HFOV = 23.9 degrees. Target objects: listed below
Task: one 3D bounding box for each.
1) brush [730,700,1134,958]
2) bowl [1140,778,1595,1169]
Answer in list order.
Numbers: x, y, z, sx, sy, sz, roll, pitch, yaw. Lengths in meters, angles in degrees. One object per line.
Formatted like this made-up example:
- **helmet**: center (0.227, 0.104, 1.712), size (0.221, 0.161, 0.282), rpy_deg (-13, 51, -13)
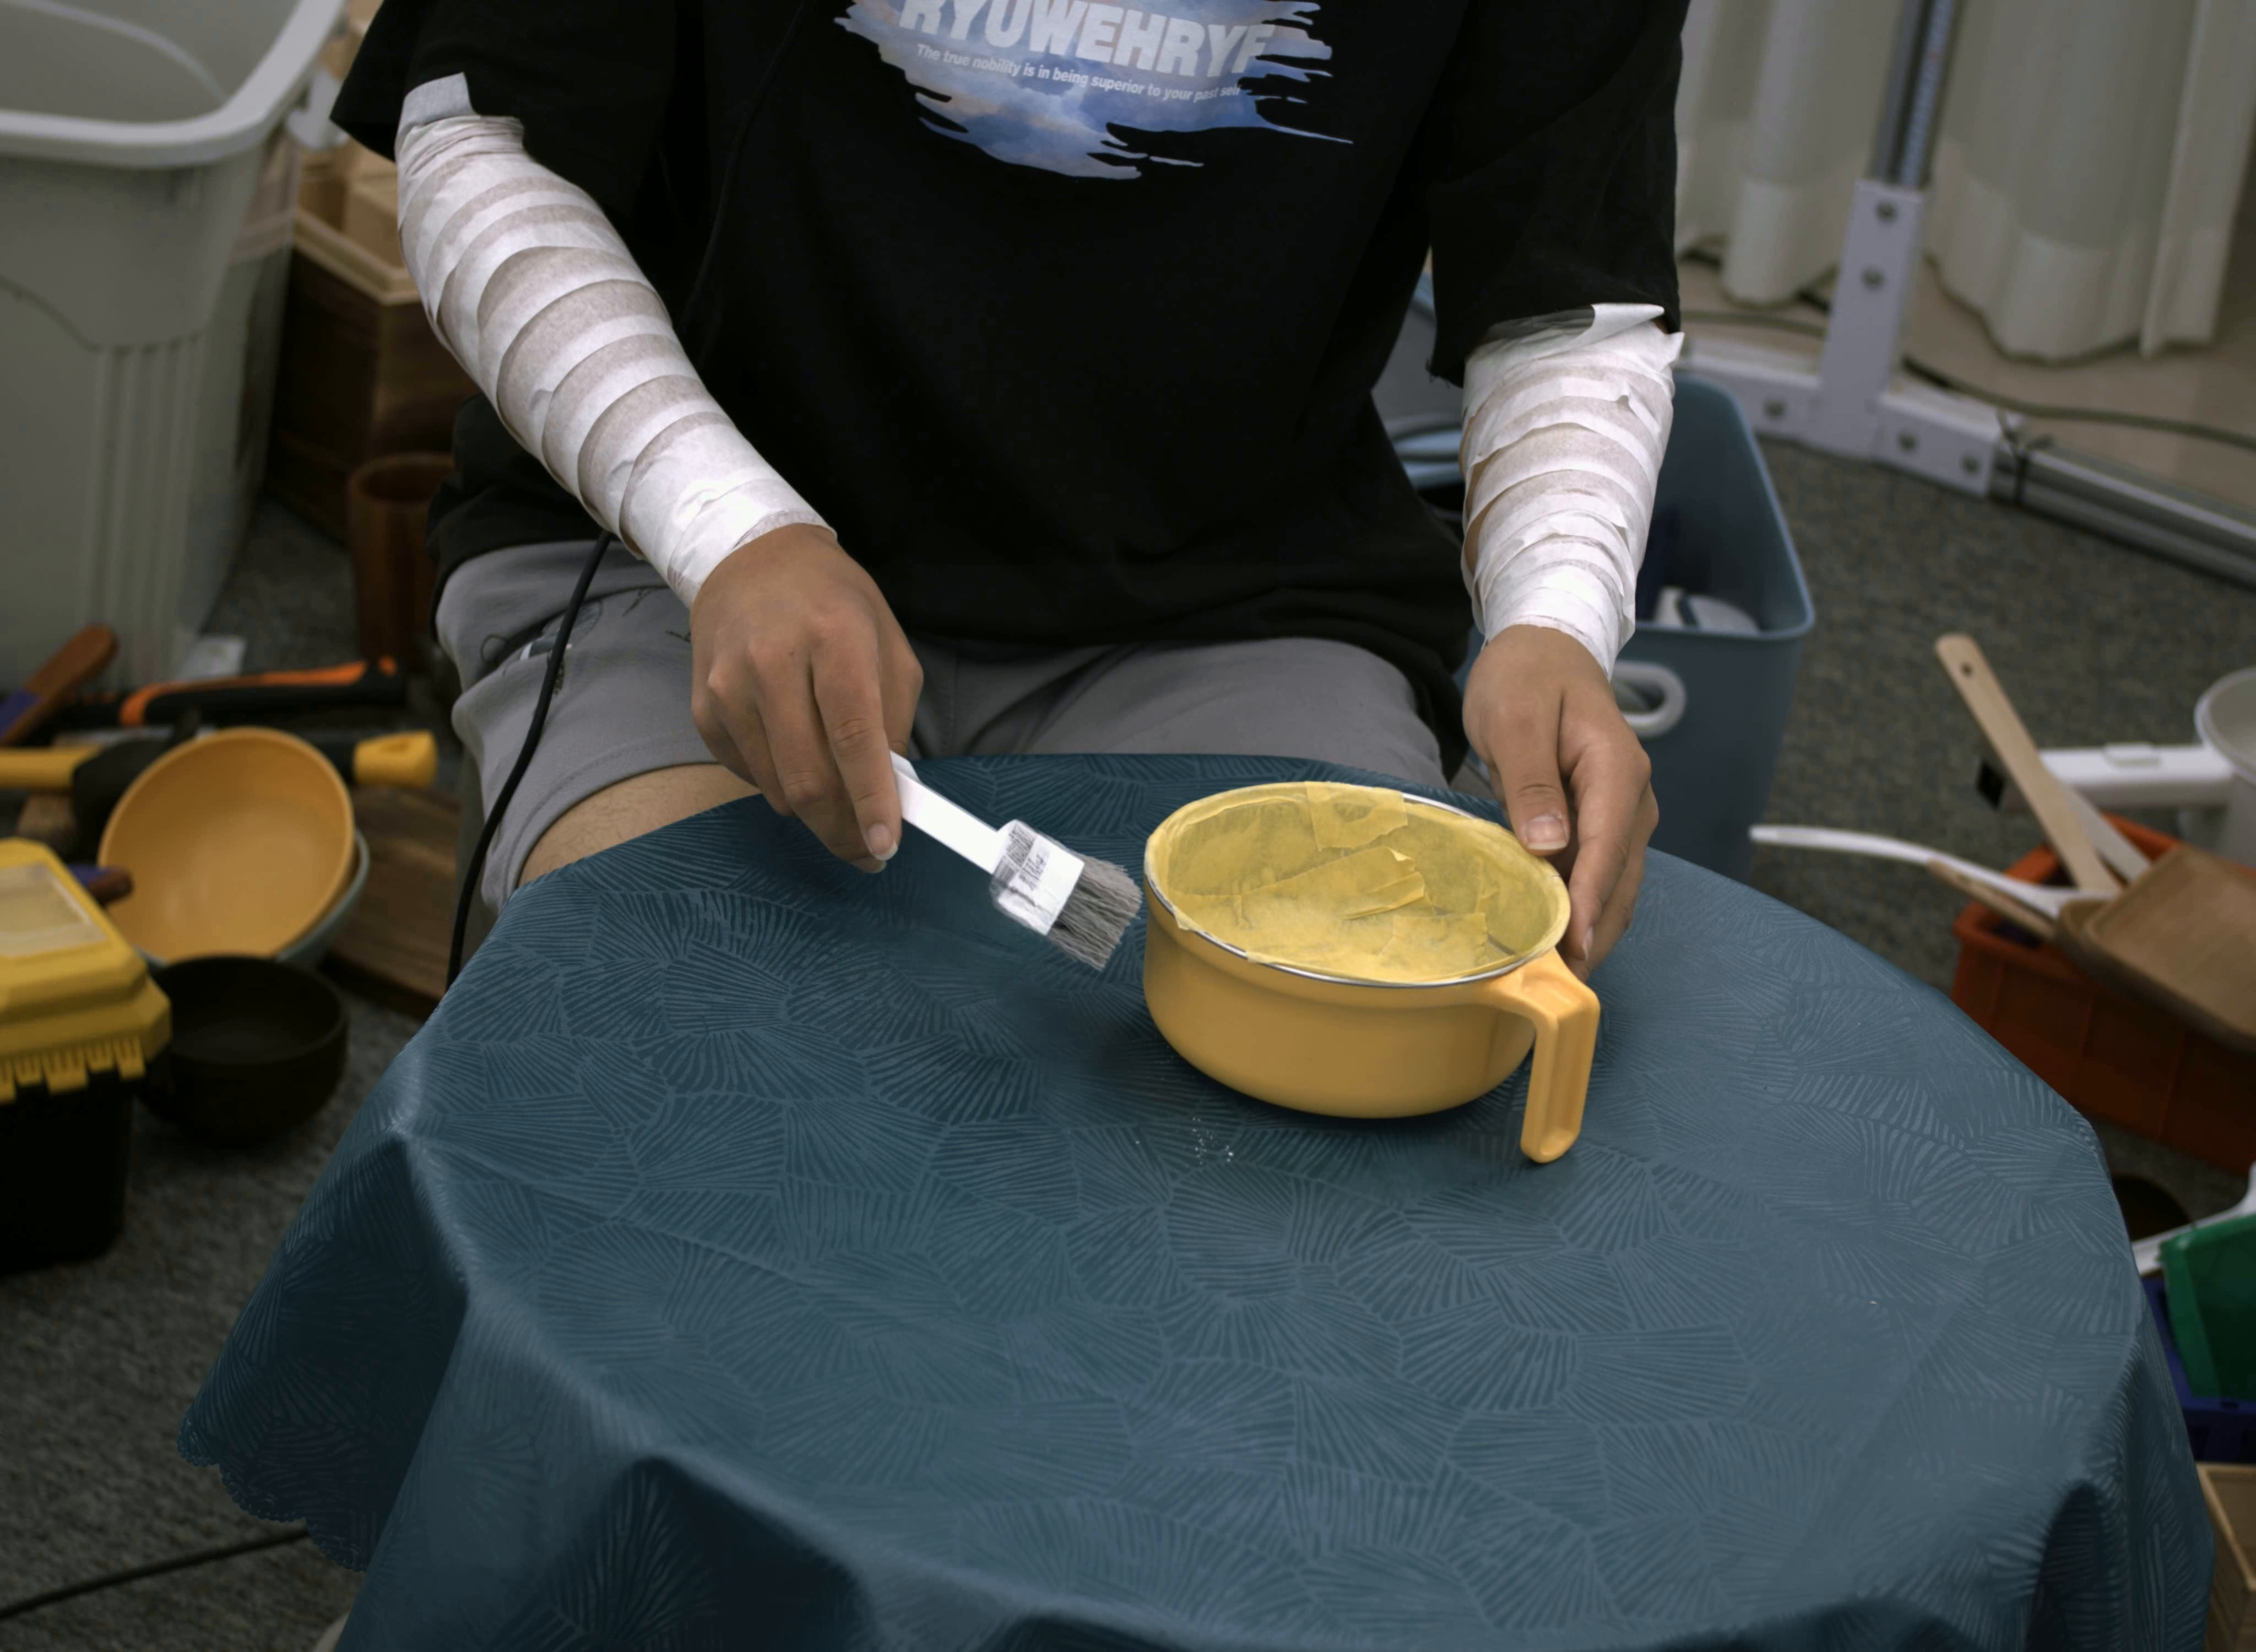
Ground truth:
- **brush**: center (-0.071, -0.001, 1.930), size (0.050, 0.034, 0.245), rpy_deg (26, 0, -35)
- **bowl**: center (0.086, 0.052, 1.888), size (0.180, 0.074, 0.152), rpy_deg (27, 28, 33)
